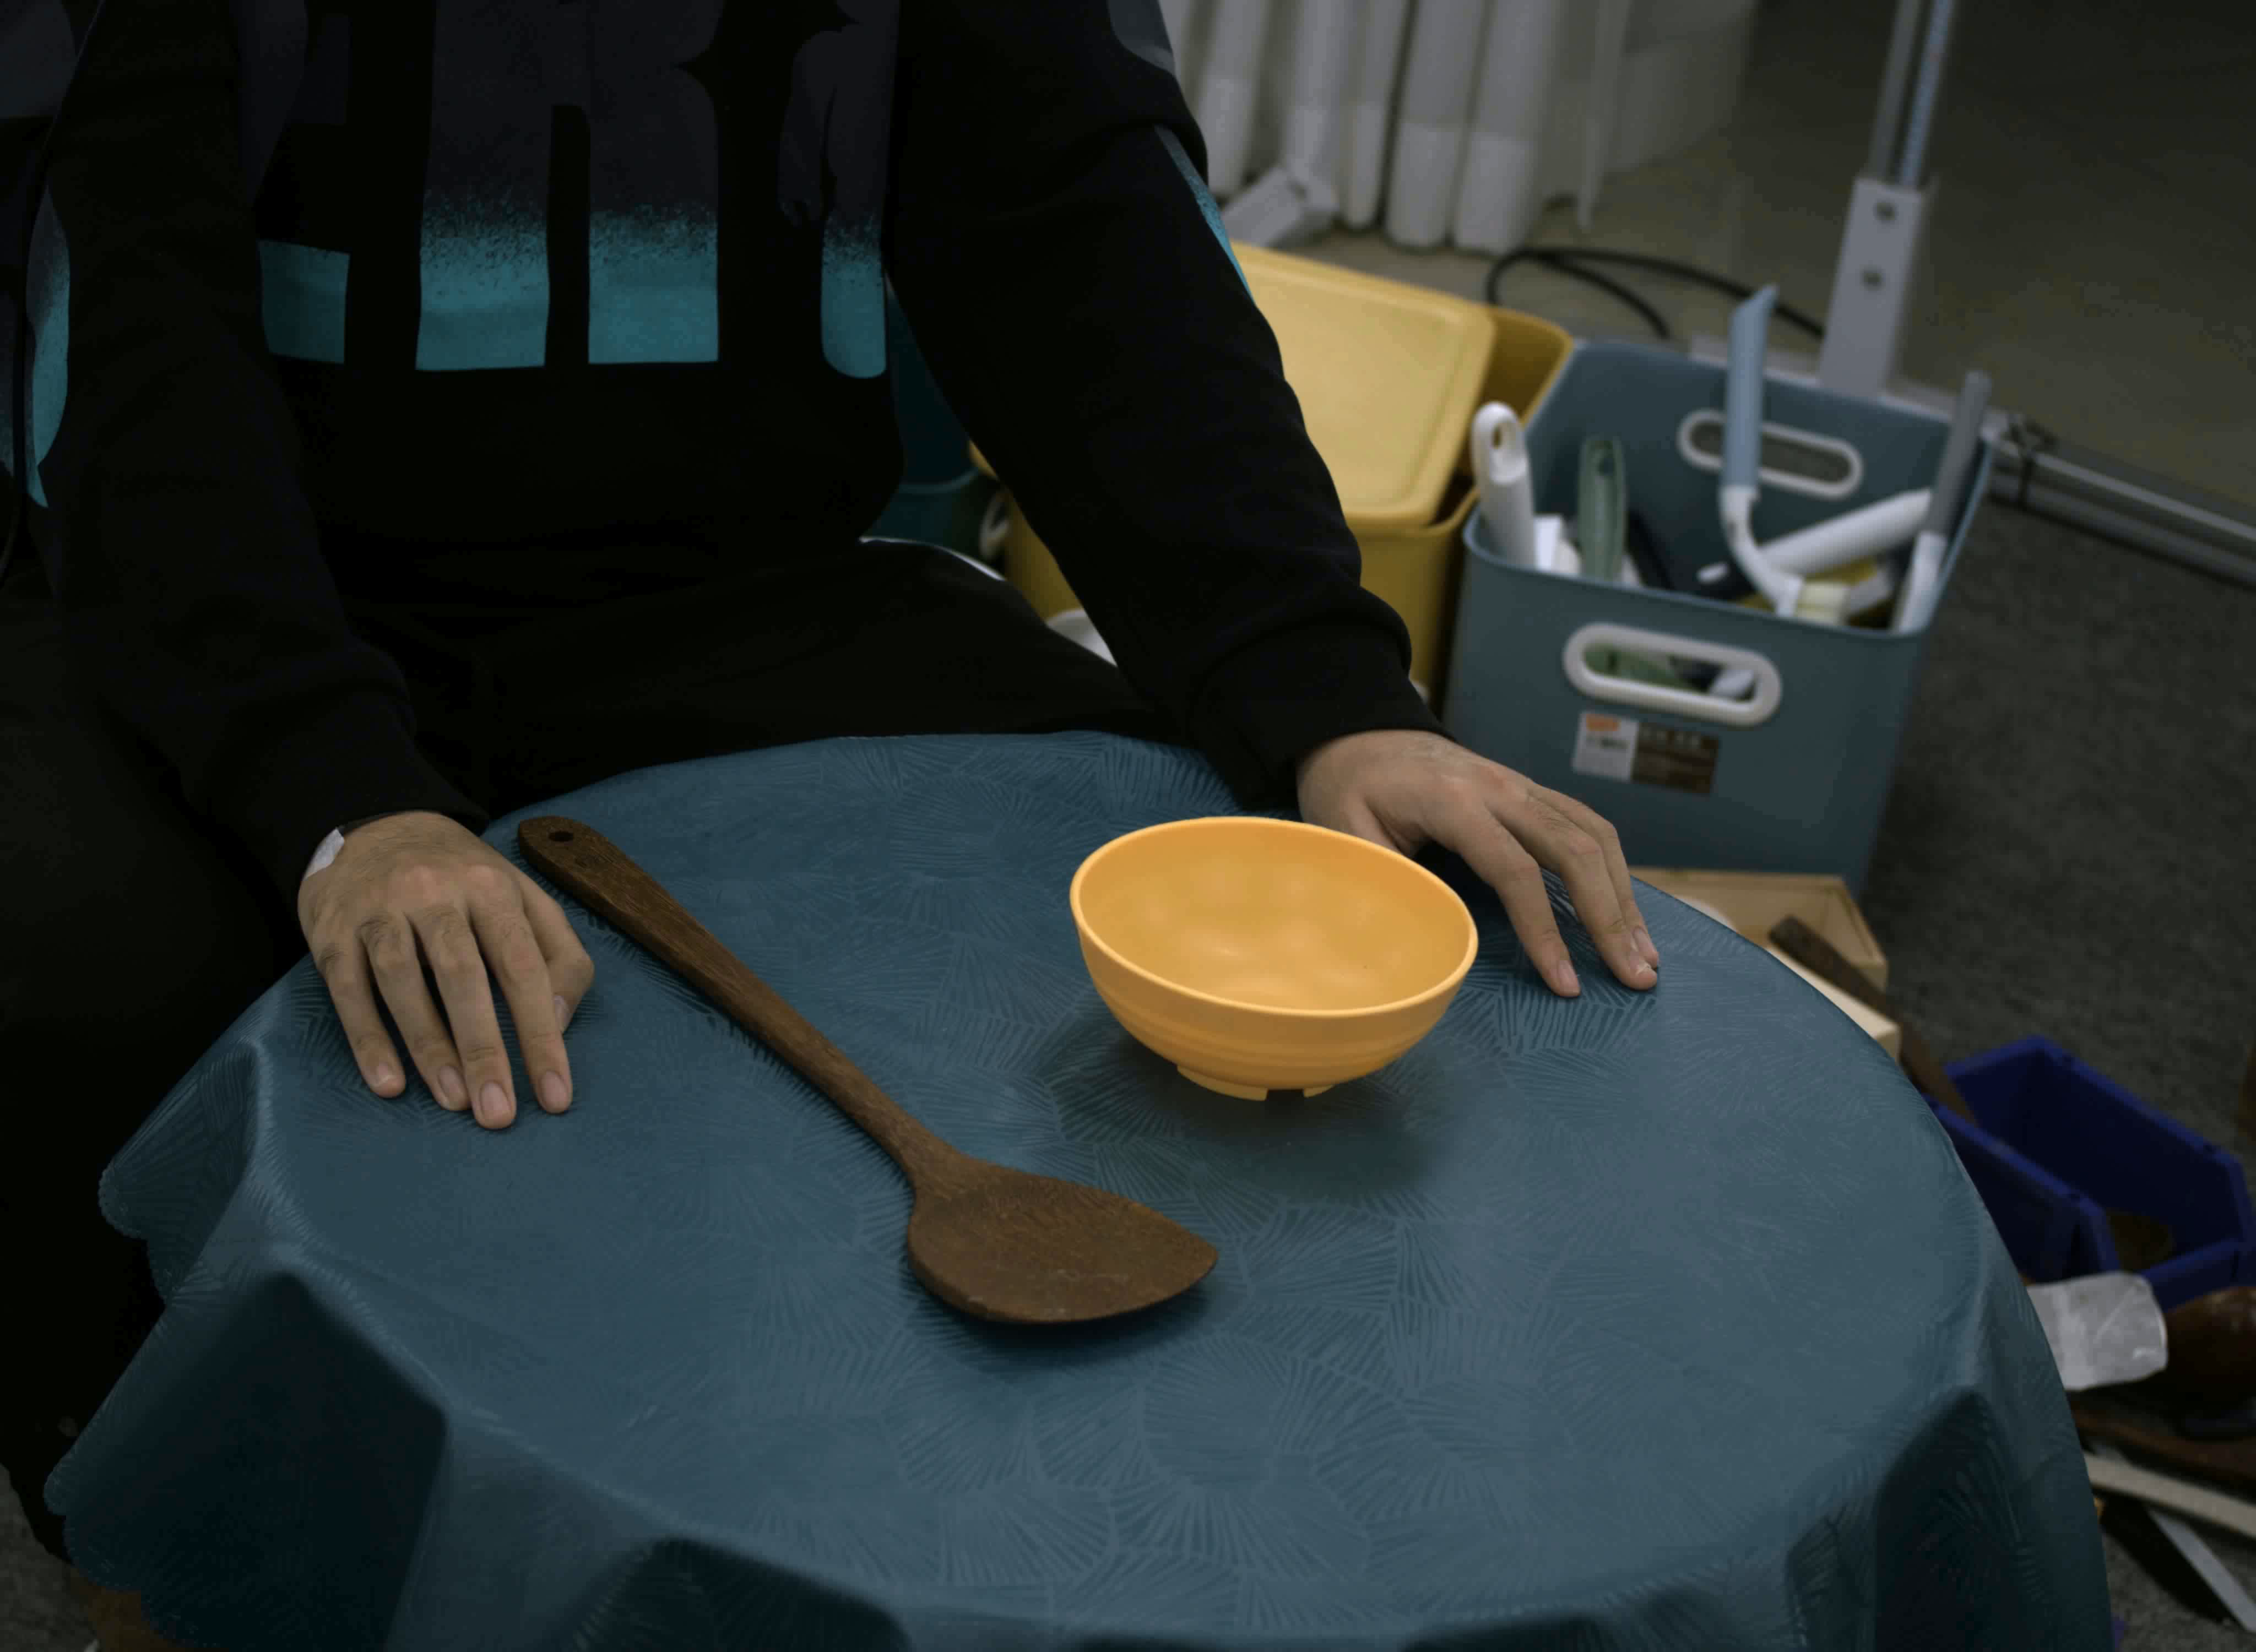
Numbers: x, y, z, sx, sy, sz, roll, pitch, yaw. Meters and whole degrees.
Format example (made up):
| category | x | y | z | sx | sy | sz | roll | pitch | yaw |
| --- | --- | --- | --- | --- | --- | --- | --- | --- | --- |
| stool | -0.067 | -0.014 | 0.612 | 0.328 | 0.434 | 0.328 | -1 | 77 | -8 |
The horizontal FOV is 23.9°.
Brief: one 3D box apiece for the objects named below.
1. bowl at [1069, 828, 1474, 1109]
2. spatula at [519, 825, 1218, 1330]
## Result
| category | x | y | z | sx | sy | sz | roll | pitch | yaw |
| --- | --- | --- | --- | --- | --- | --- | --- | --- | --- |
| bowl | 0.047 | 0.058 | 1.880 | 0.145 | 0.060 | 0.146 | 7 | 24 | -4 |
| spatula | -0.110 | 0.079 | 1.848 | 0.095 | 0.016 | 0.389 | -12 | 32 | -34 |
